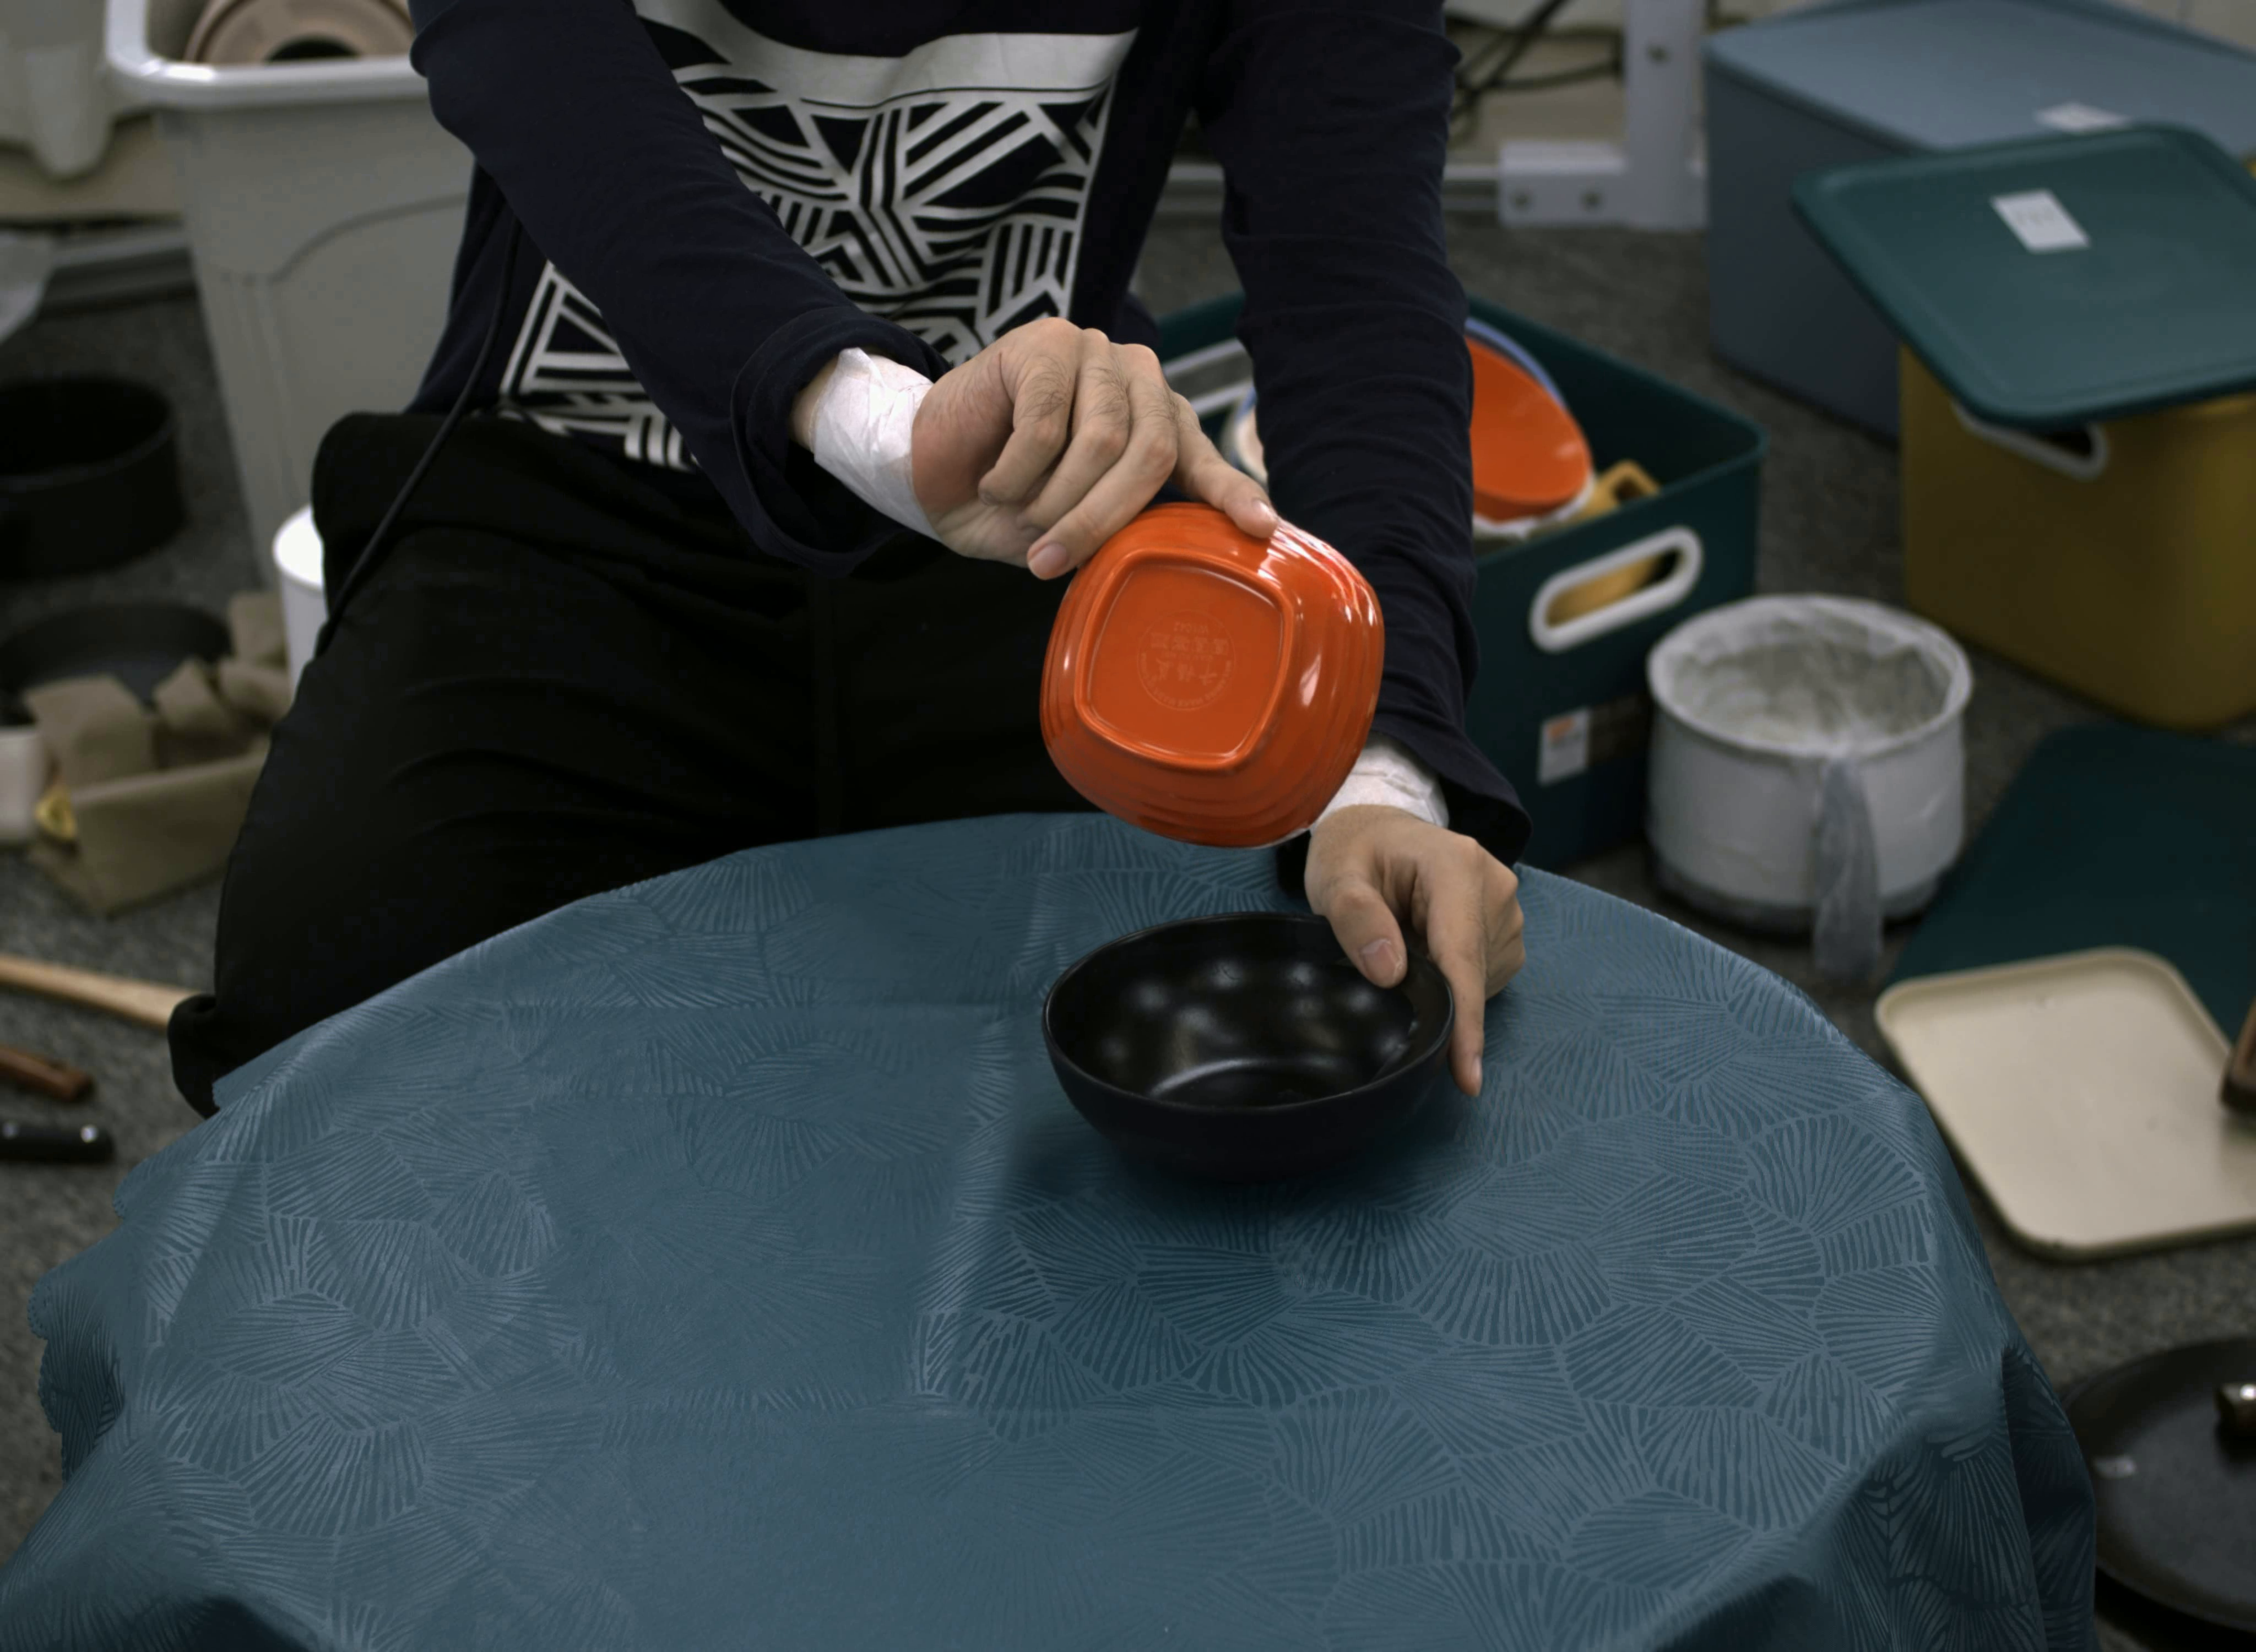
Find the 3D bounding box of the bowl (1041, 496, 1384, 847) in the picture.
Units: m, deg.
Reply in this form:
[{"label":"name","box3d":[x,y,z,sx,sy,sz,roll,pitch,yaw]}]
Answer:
[{"label":"bowl","box3d":[0.022,-0.052,1.801,0.118,0.120,0.051,5,-5,15]}]

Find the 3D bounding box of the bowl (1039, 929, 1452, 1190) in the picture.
[{"label":"bowl","box3d":[0.040,0.085,1.881,0.139,0.049,0.142,-2,22,1]}]
